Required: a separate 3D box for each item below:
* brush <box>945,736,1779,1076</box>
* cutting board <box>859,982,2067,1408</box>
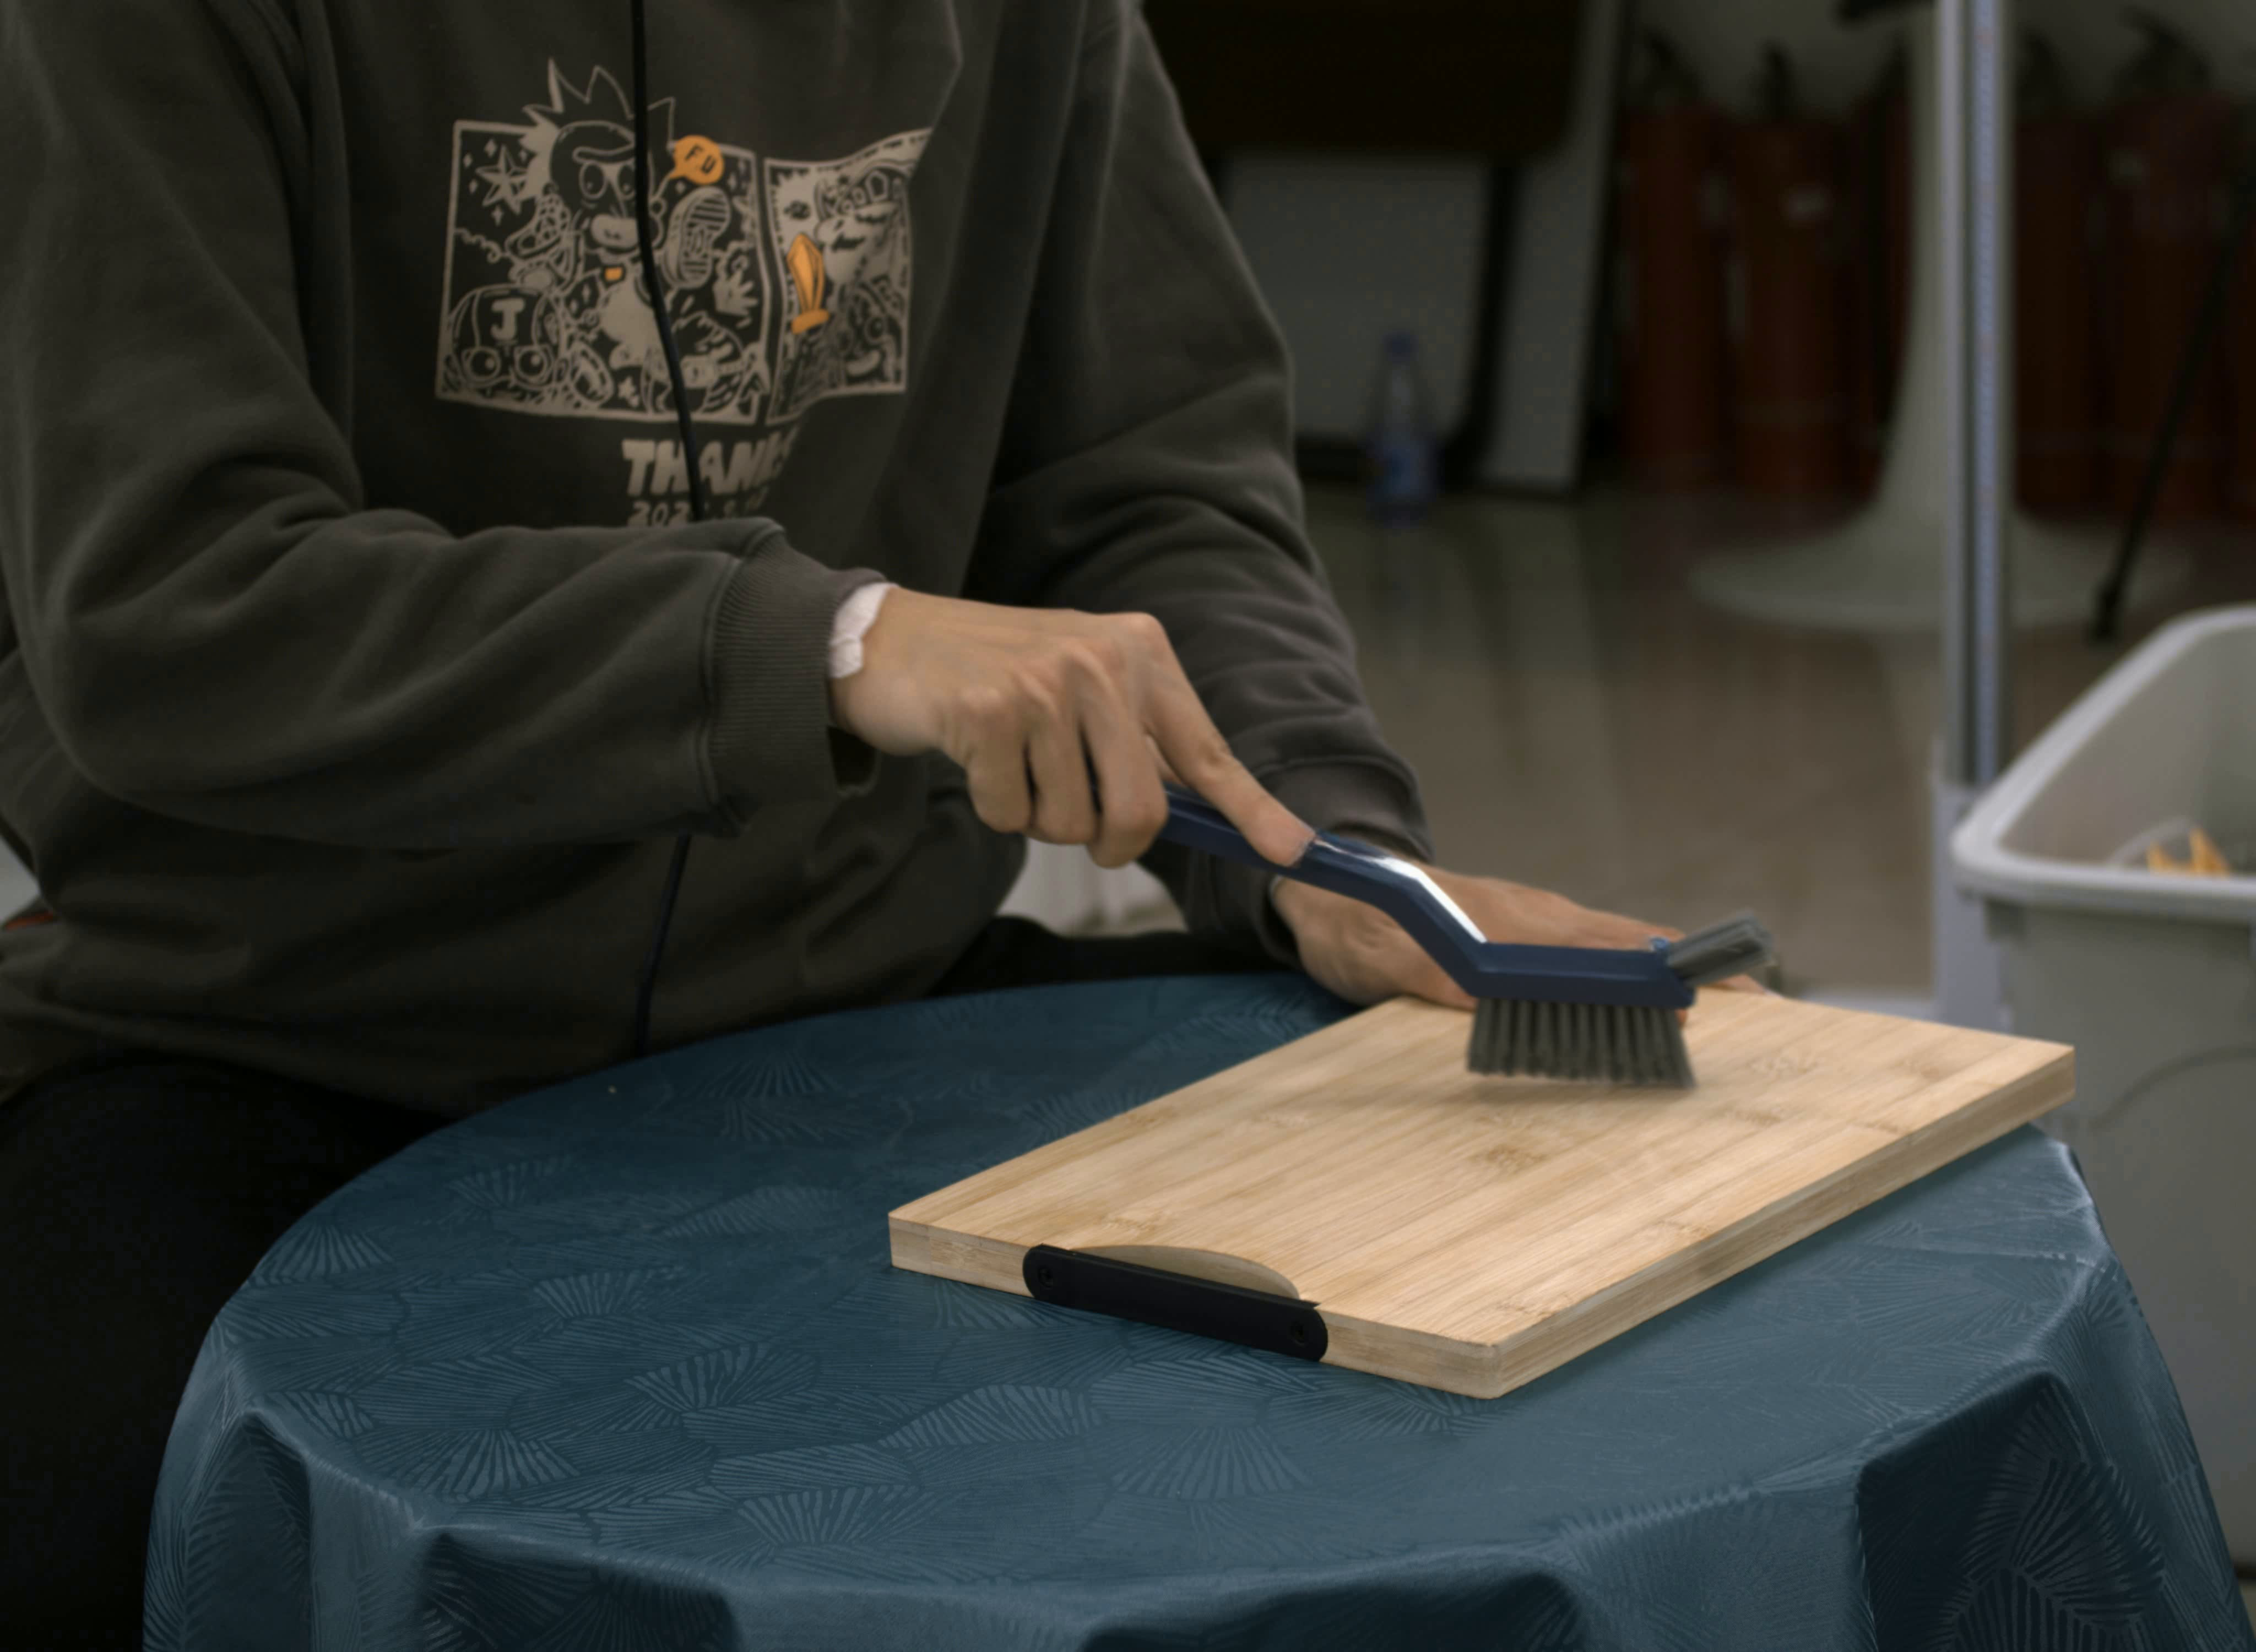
[{"bbox_3d":[0.074,0.011,1.776,0.271,0.097,0.033,25,26,1],"label":"brush"},{"bbox_3d":[0.116,0.112,1.751,0.252,0.024,0.342,6,17,39],"label":"cutting board"}]
